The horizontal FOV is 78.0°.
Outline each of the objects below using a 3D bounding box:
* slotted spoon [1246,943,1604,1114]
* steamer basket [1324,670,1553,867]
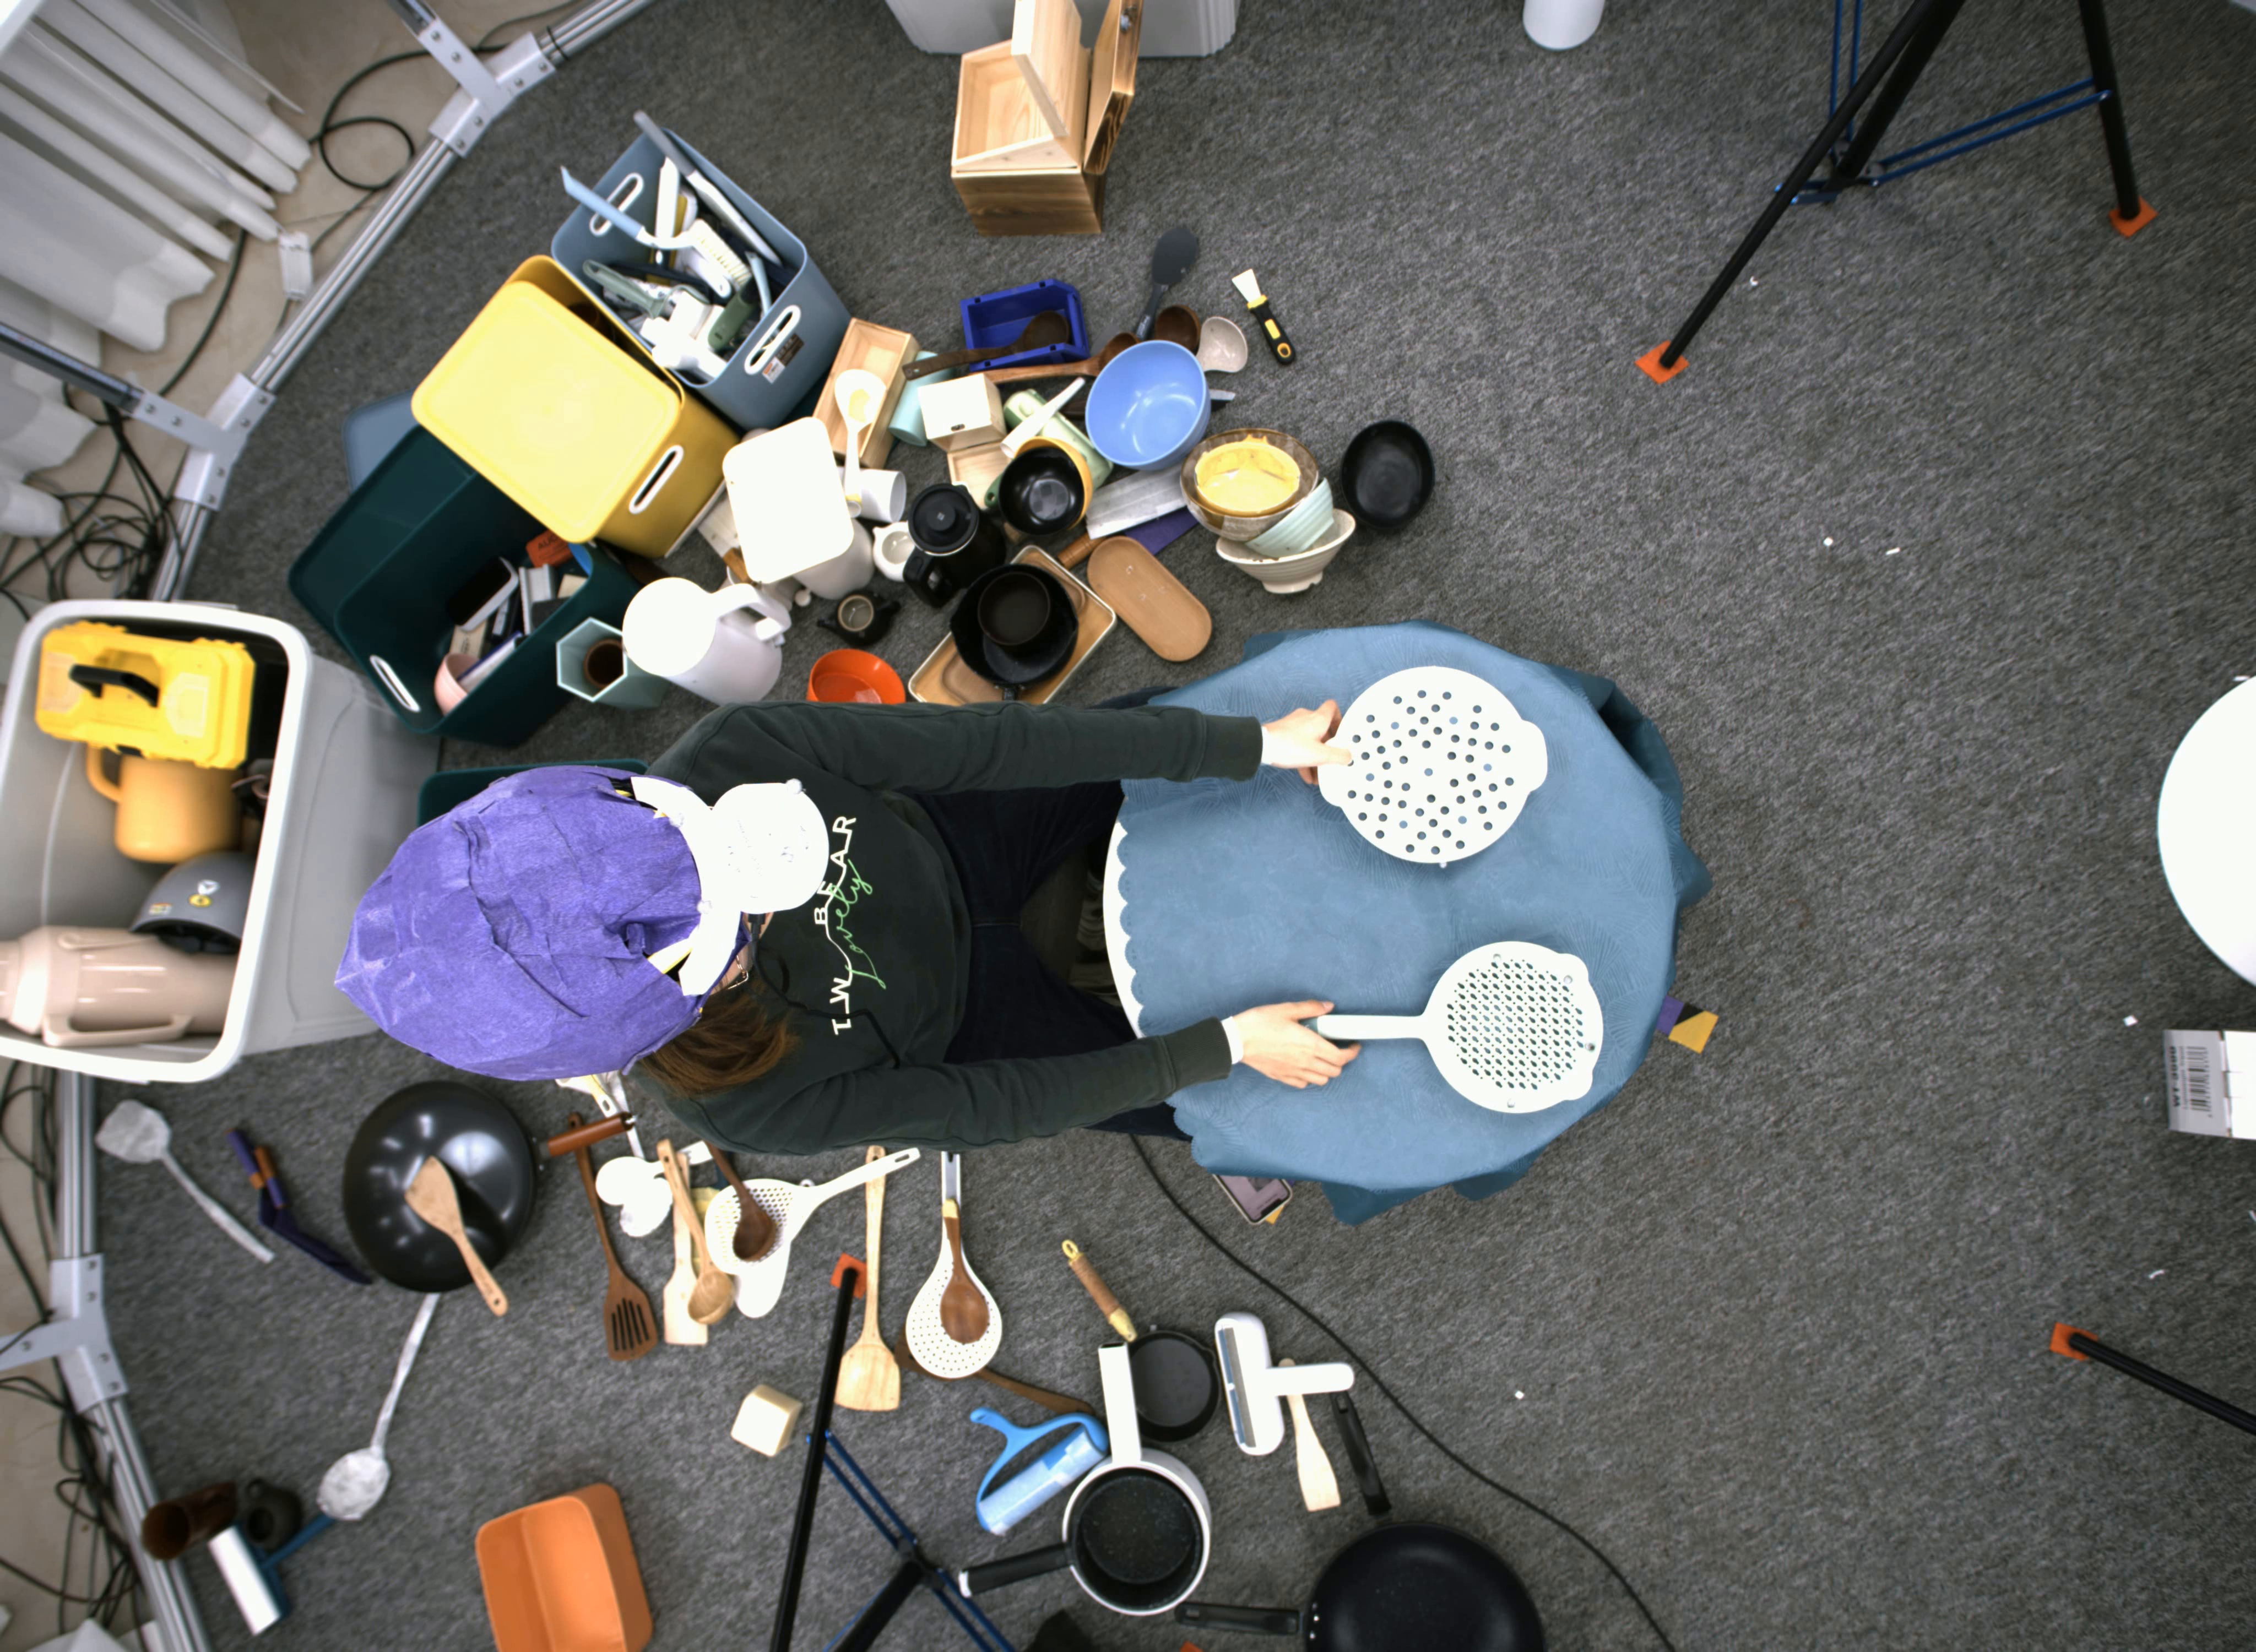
[{"bbox_3d":[0.298,0.205,1.418,0.360,0.075,0.168,-1,85,10],"label":"slotted spoon"},{"bbox_3d":[0.321,-0.059,1.432,0.231,0.069,0.200,-6,84,10],"label":"steamer basket"}]
